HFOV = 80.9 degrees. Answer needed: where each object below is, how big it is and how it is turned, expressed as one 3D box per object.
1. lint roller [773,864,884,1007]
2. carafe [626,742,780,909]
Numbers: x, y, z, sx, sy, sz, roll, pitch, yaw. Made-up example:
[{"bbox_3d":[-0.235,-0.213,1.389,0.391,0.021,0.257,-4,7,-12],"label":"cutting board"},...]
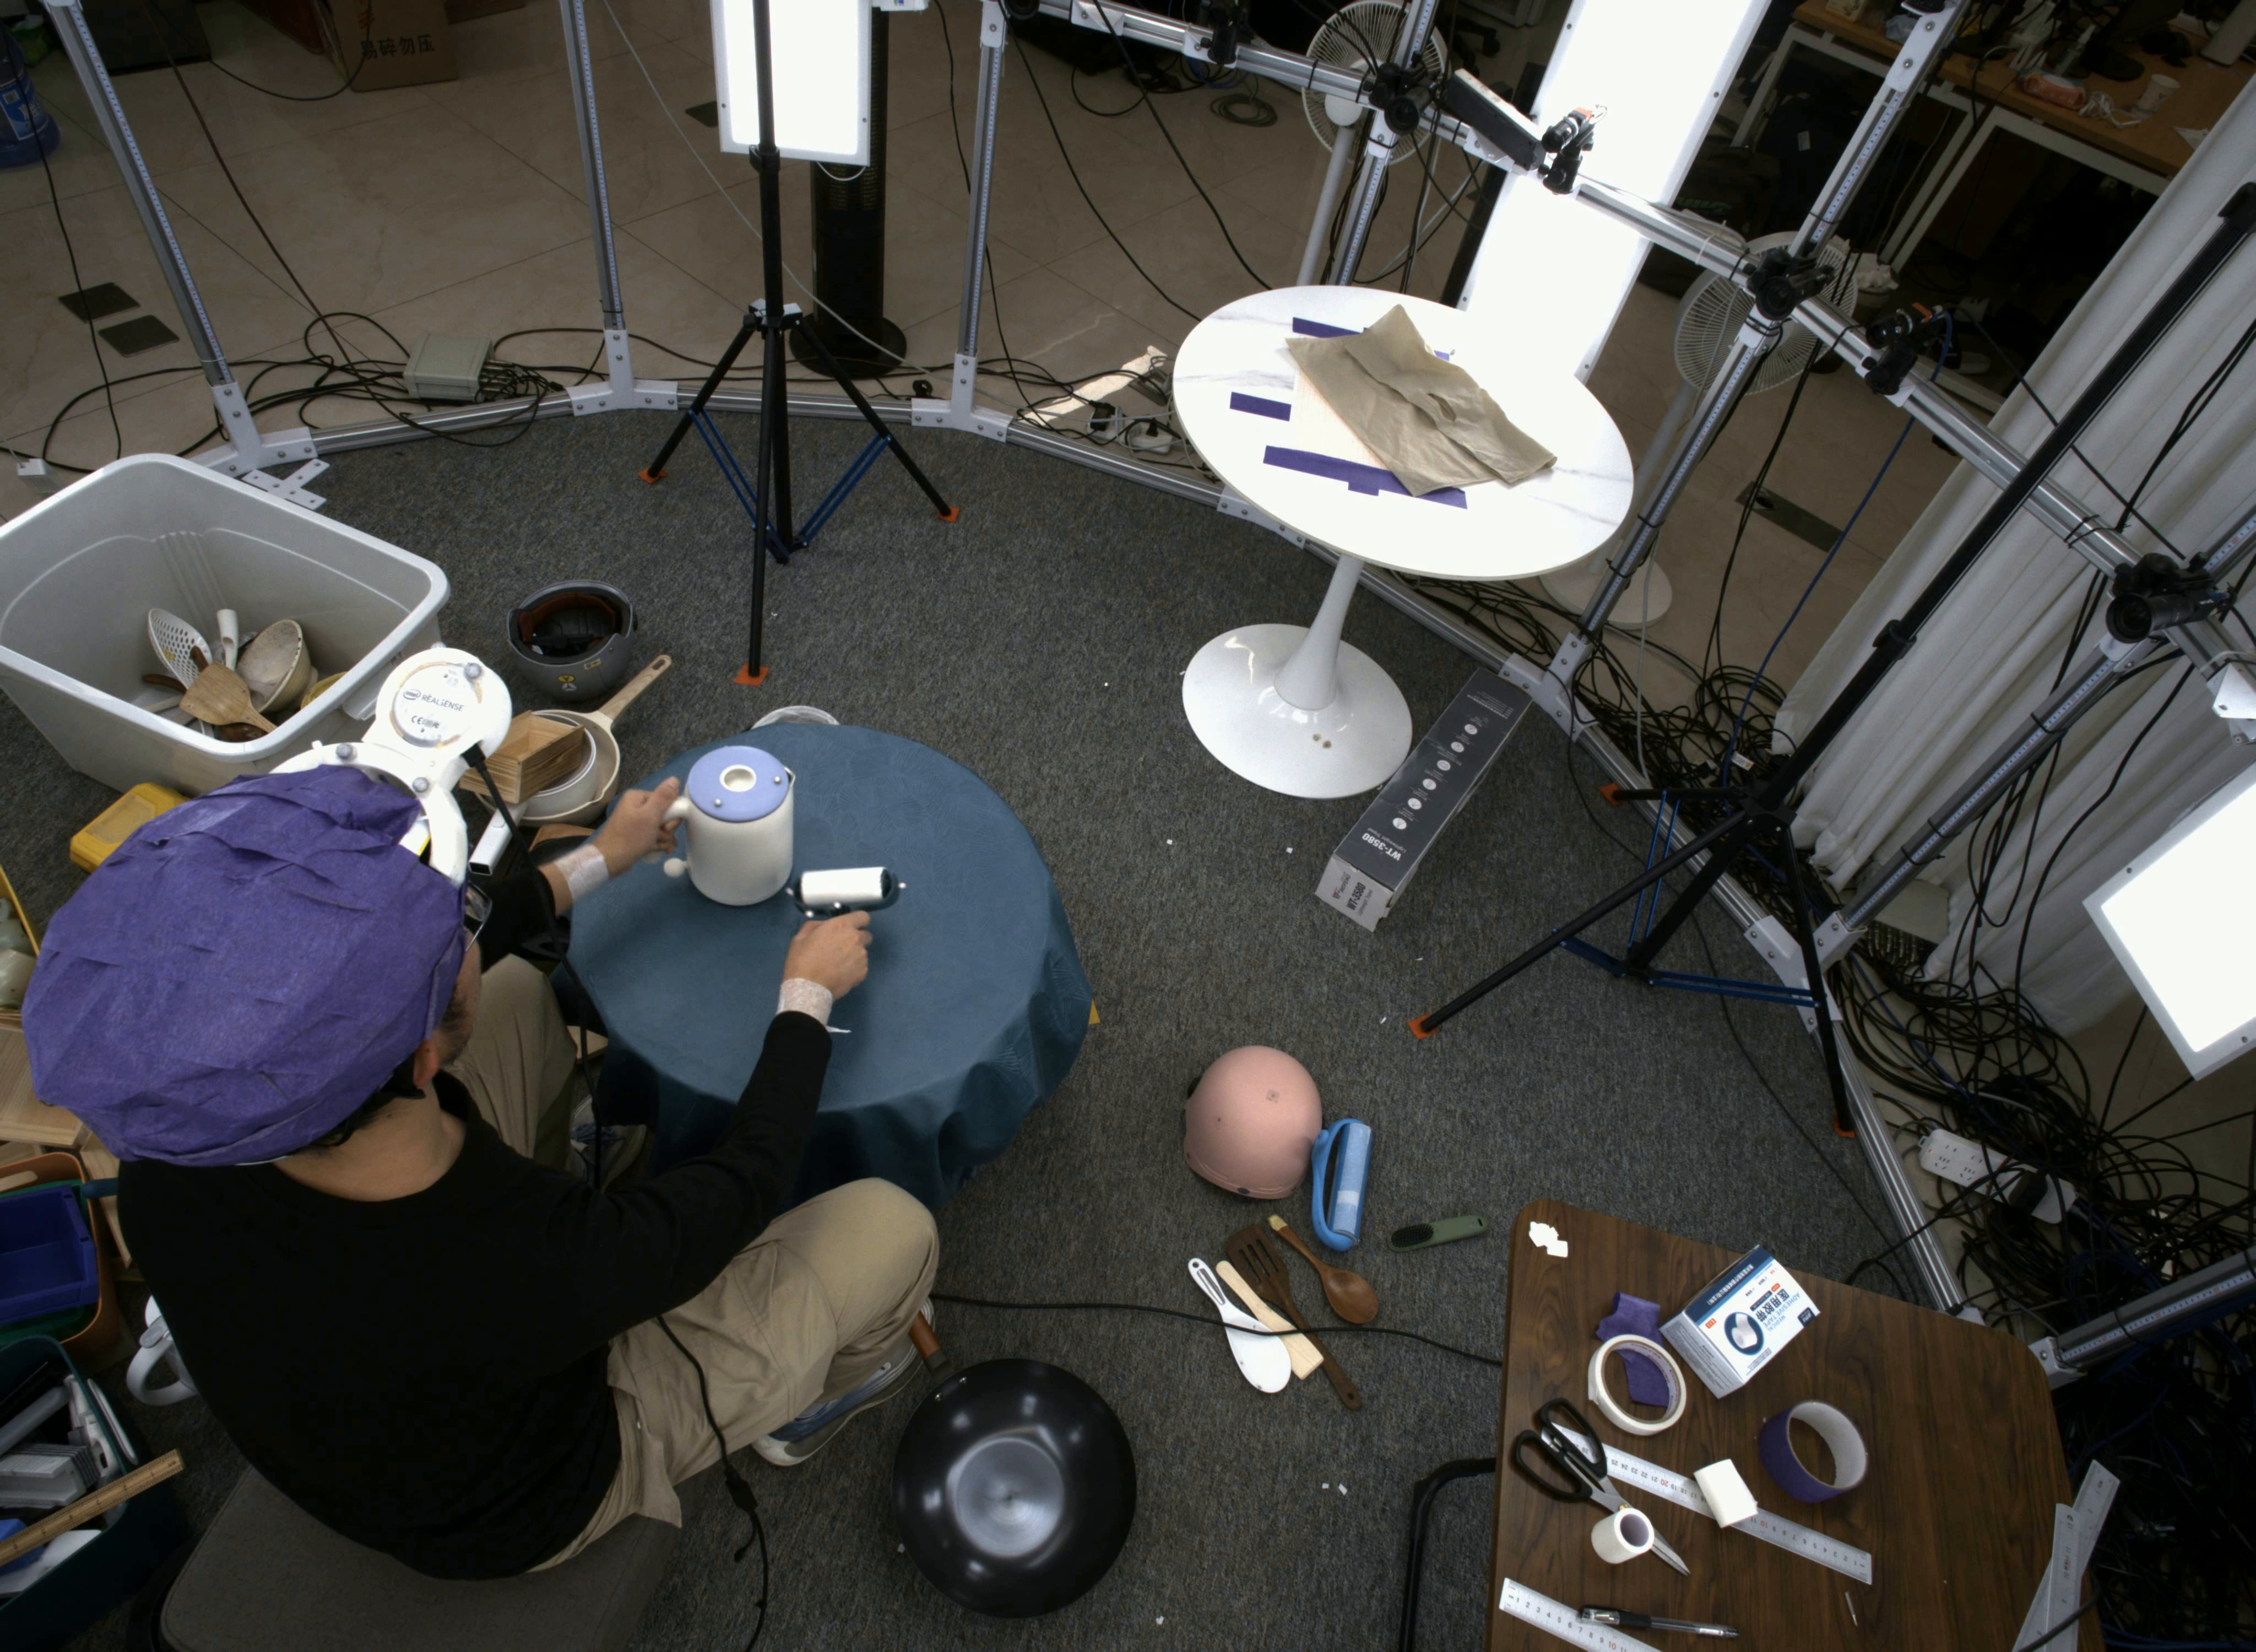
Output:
[{"bbox_3d":[-0.363,0.123,1.550,0.133,0.049,0.176,-1,55,-5],"label":"lint roller"},{"bbox_3d":[-0.519,0.004,1.575,0.192,0.186,0.129,-14,55,-23],"label":"carafe"}]
